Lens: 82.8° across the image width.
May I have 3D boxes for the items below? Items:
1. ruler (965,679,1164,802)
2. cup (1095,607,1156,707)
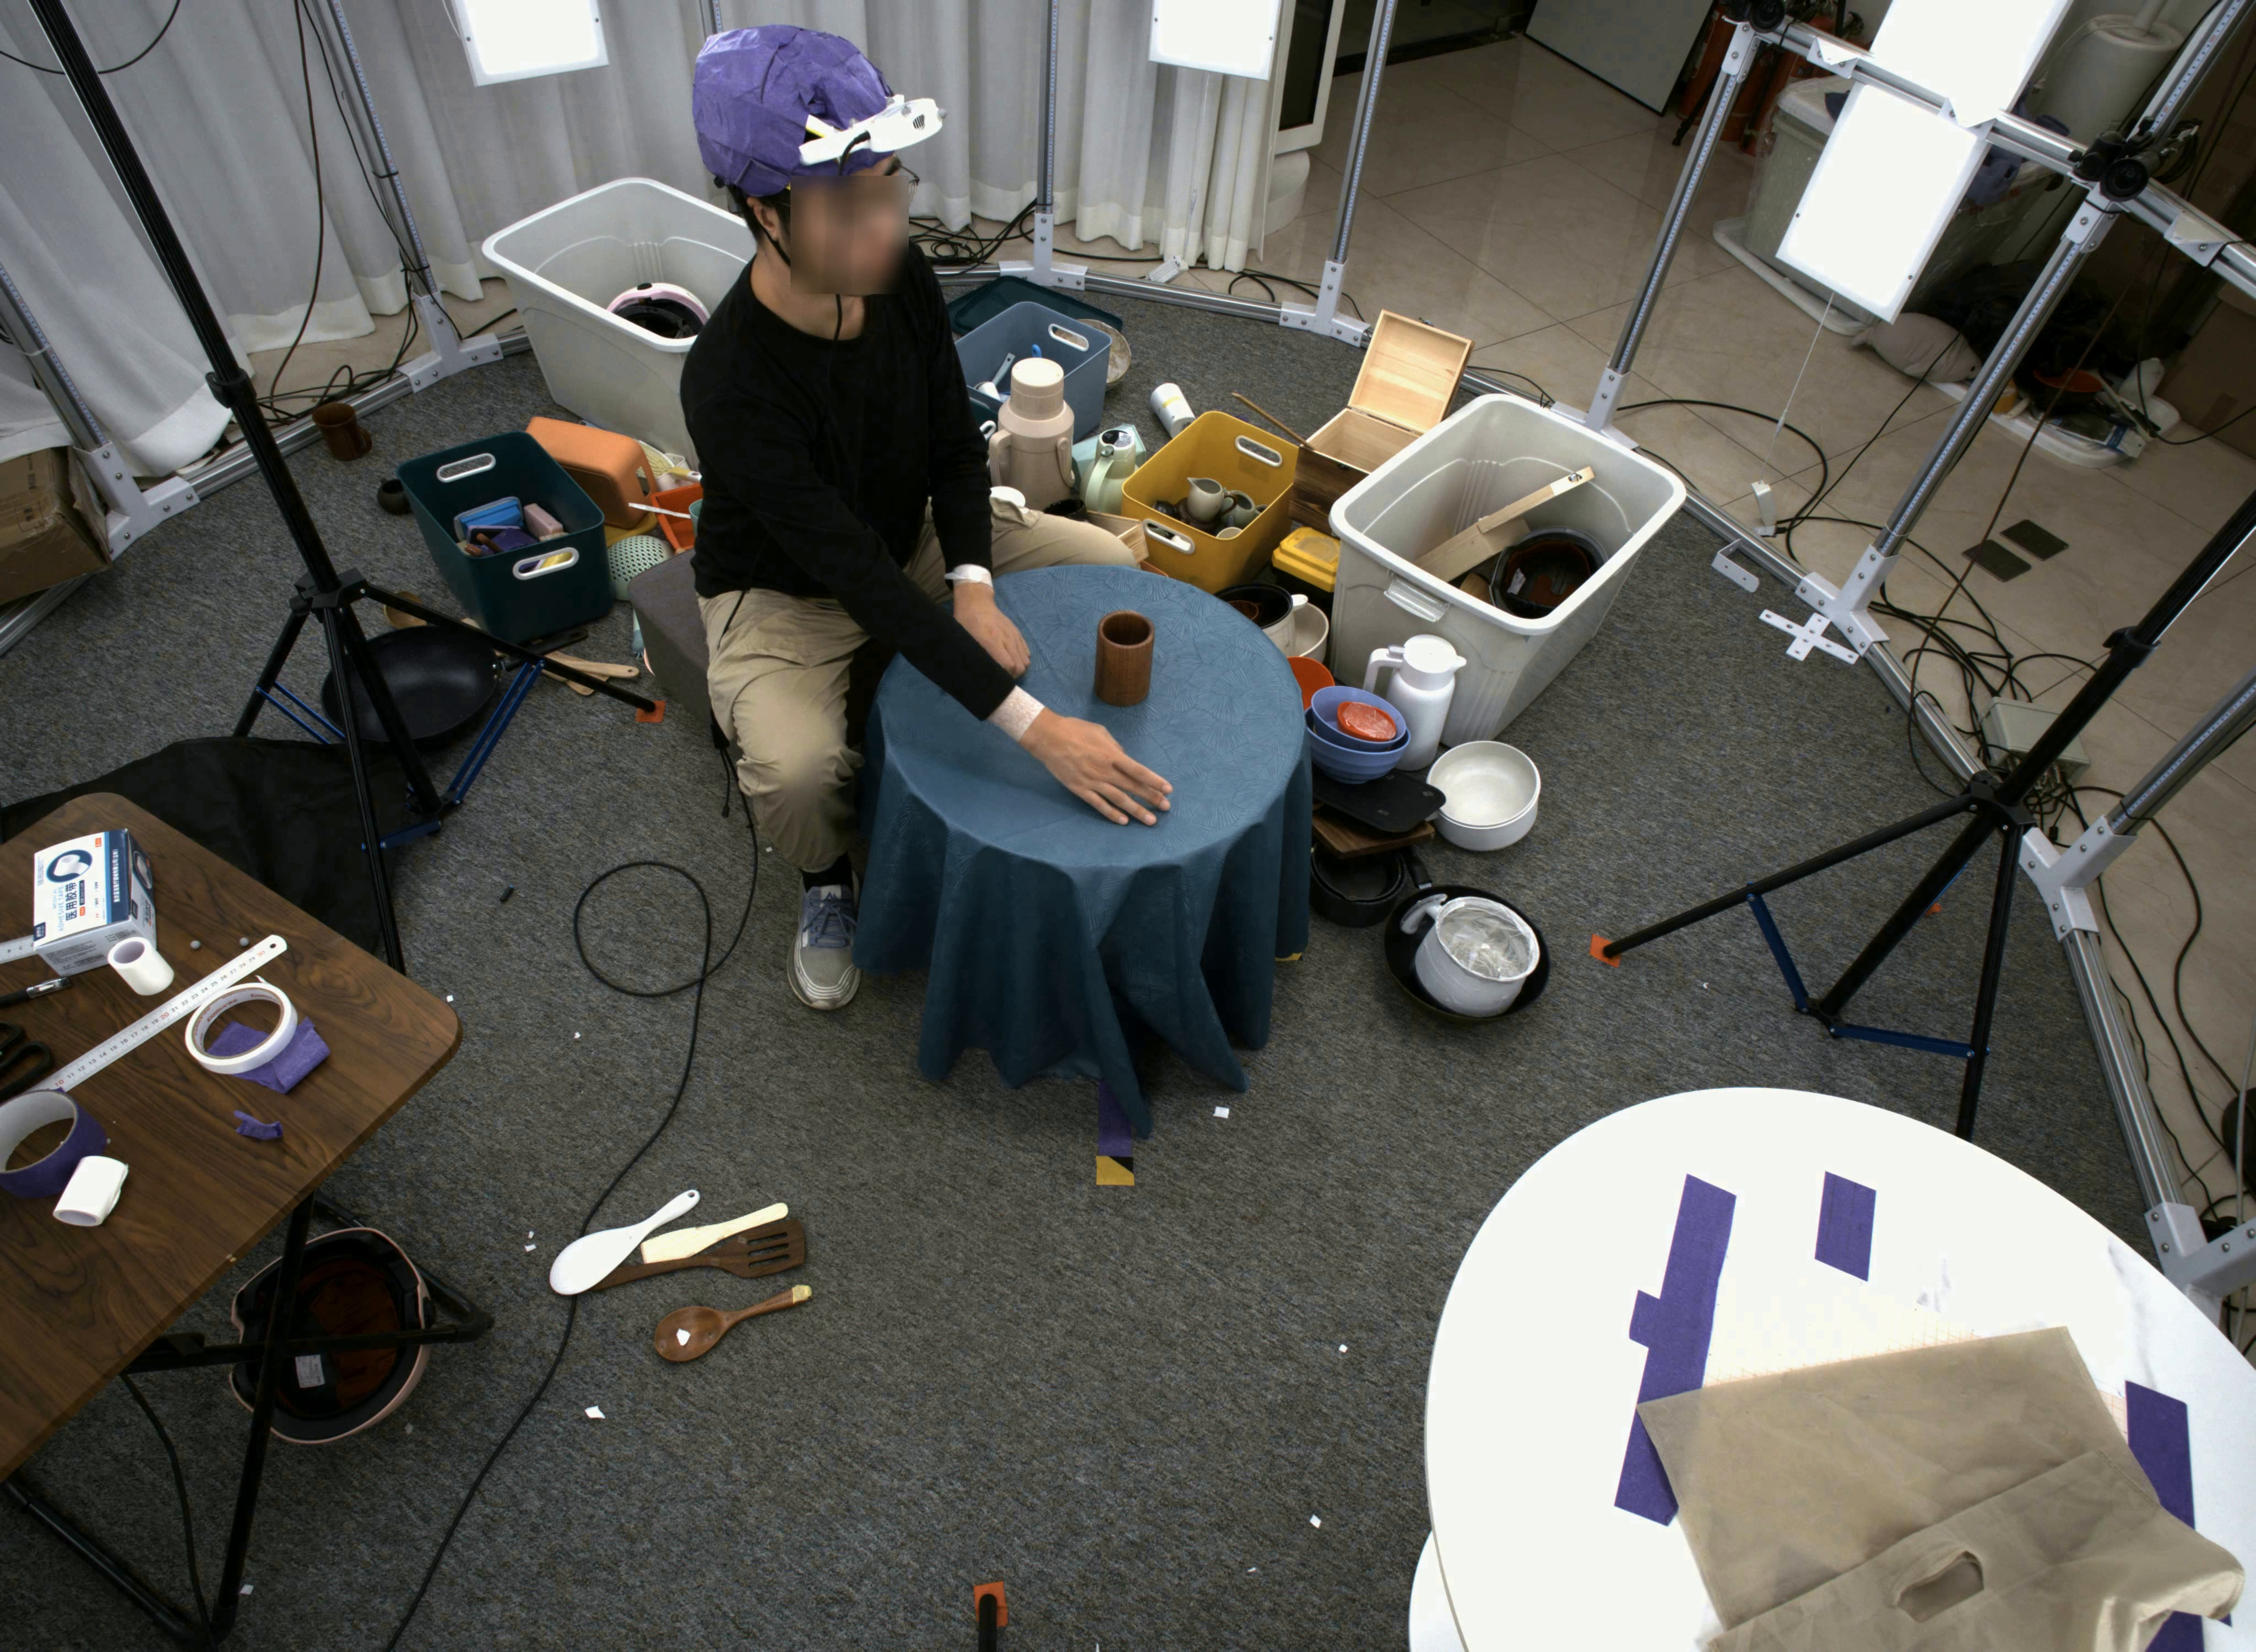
[{"bbox_3d":[-0.091,-0.123,1.764,0.335,0.021,0.028,31,49,21],"label":"ruler"},{"bbox_3d":[-0.005,-0.236,1.799,0.087,0.115,0.090,2,48,-3],"label":"cup"}]
